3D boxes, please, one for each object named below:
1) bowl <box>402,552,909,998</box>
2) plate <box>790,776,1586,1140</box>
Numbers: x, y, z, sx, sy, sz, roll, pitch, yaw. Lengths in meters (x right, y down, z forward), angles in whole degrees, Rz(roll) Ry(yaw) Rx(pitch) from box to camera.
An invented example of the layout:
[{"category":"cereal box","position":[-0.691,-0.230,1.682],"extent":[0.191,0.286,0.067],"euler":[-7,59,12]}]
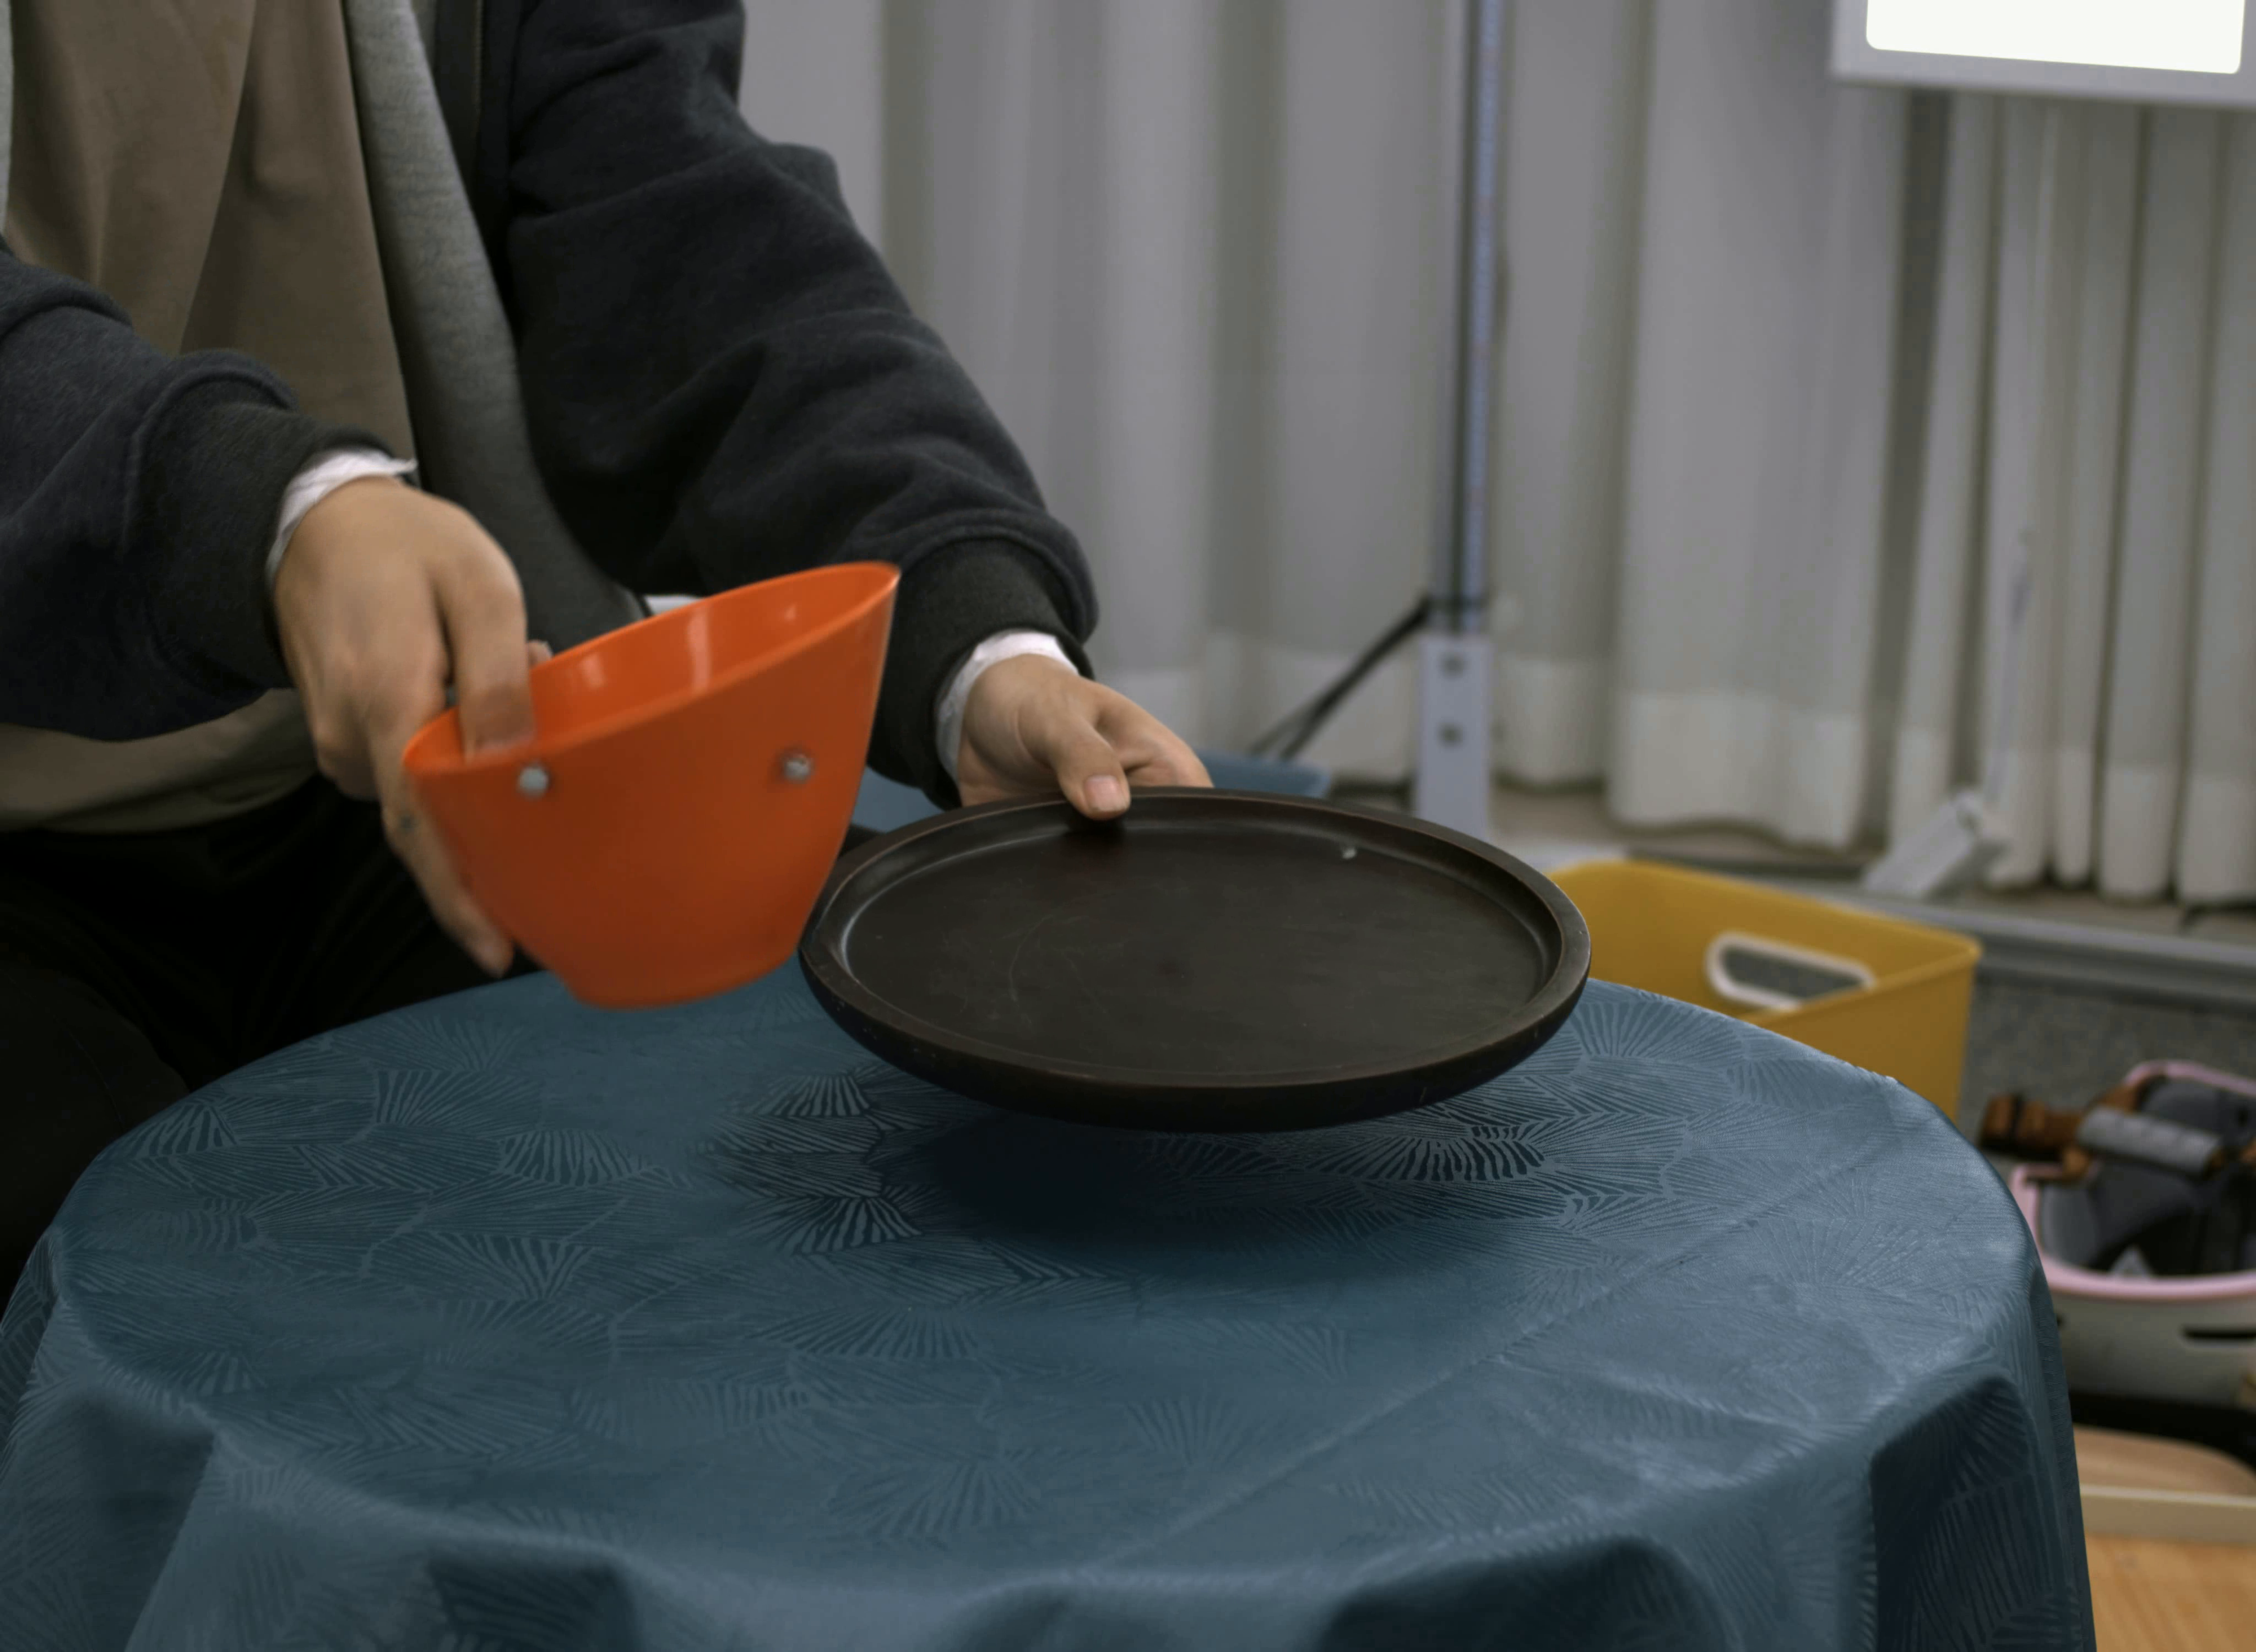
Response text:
[{"category":"bowl","position":[-0.125,-0.012,1.476],"extent":[0.147,0.105,0.147],"euler":[-9,17,3]},{"category":"plate","position":[0.019,0.040,1.667],"extent":[0.254,0.029,0.253],"euler":[1,22,0]}]
